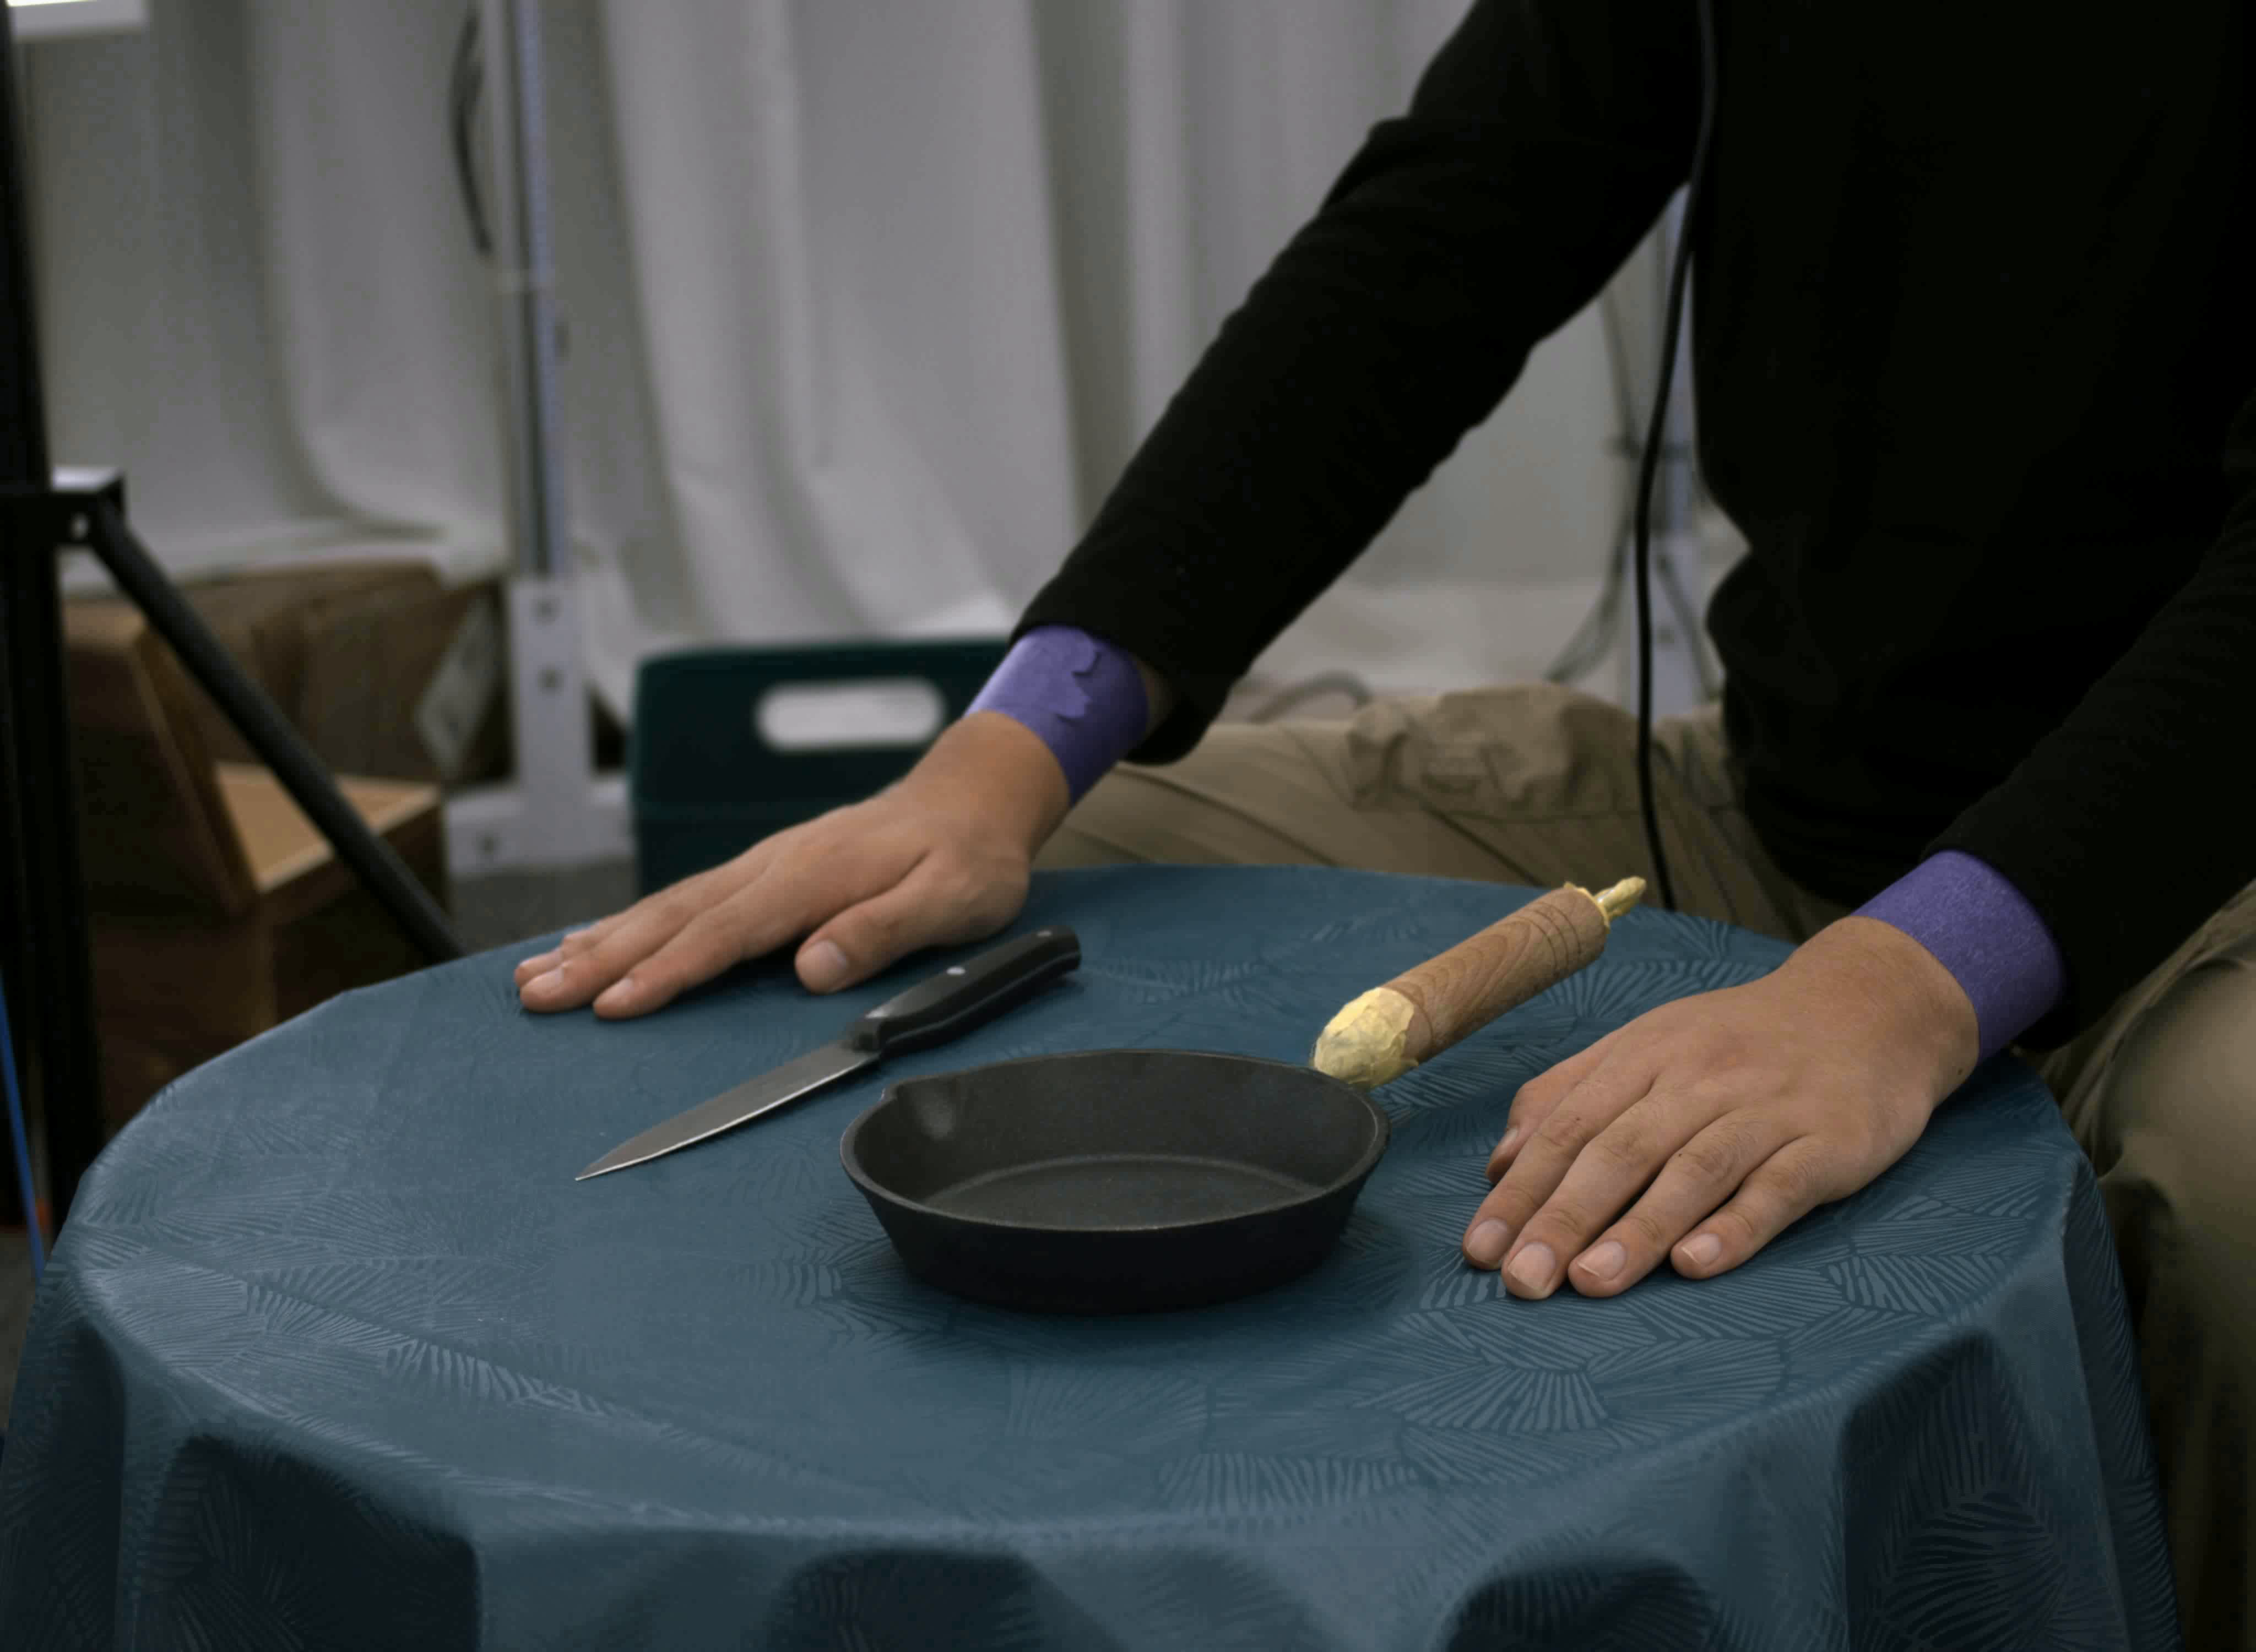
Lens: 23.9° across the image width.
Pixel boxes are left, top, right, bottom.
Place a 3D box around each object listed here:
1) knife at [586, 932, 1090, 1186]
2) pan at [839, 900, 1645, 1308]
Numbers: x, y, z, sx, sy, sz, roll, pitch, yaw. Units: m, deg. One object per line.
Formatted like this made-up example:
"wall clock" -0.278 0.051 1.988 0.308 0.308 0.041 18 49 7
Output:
"knife" -0.091 0.073 1.673 0.025 0.016 0.233 10 23 37
"pan" 0.053 0.078 1.568 0.173 0.049 0.317 13 21 42
